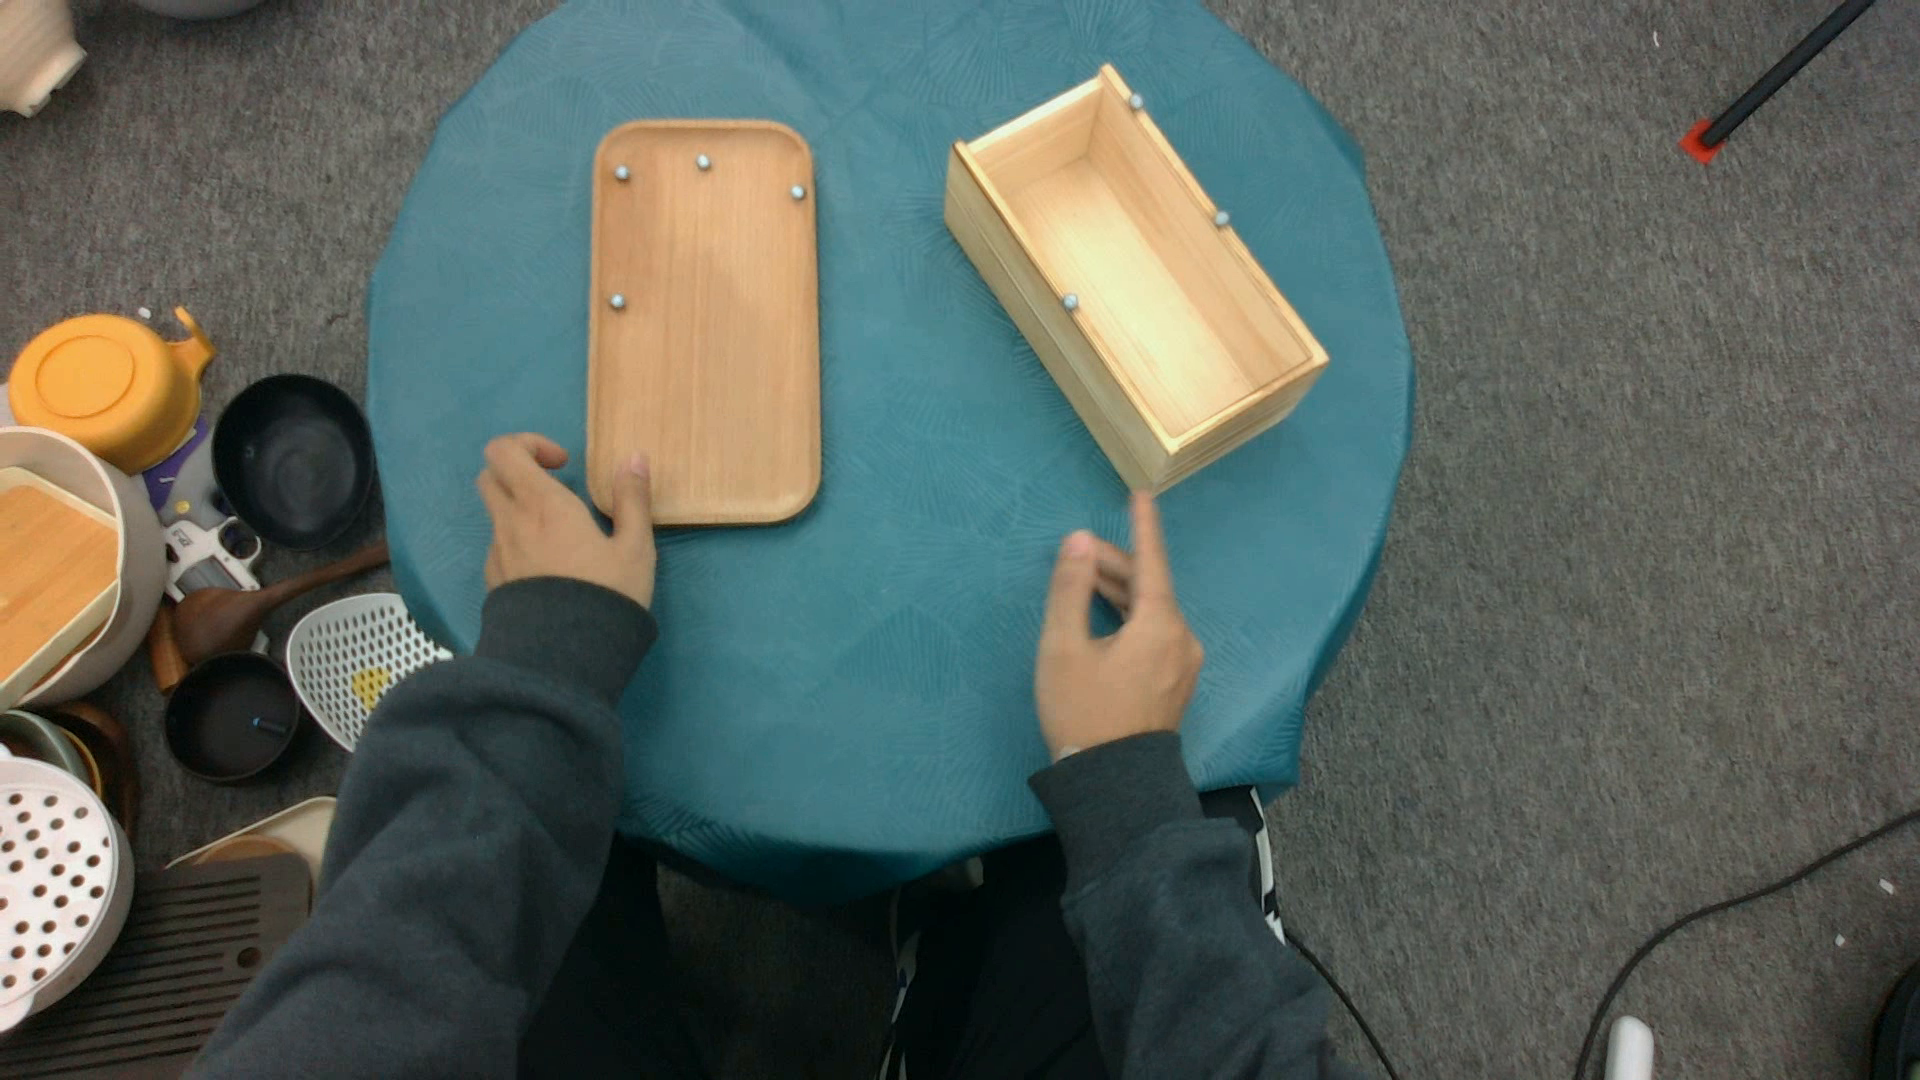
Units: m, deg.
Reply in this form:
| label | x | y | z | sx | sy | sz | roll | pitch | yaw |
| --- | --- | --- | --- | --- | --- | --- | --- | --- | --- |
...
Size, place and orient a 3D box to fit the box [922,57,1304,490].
| label | x | y | z | sx | sy | sz | roll | pitch | yaw |
| --- | --- | --- | --- | --- | --- | --- | --- | --- | --- |
| box | 0.080 | -0.149 | 0.776 | 0.108 | 0.080 | 0.211 | -31 | 77 | -13 |

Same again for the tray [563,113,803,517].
| label | x | y | z | sx | sy | sz | roll | pitch | yaw |
| --- | --- | --- | --- | --- | --- | --- | --- | --- | --- |
| tray | -0.156 | -0.132 | 0.782 | 0.130 | 0.023 | 0.251 | -2 | 73 | -3 |
